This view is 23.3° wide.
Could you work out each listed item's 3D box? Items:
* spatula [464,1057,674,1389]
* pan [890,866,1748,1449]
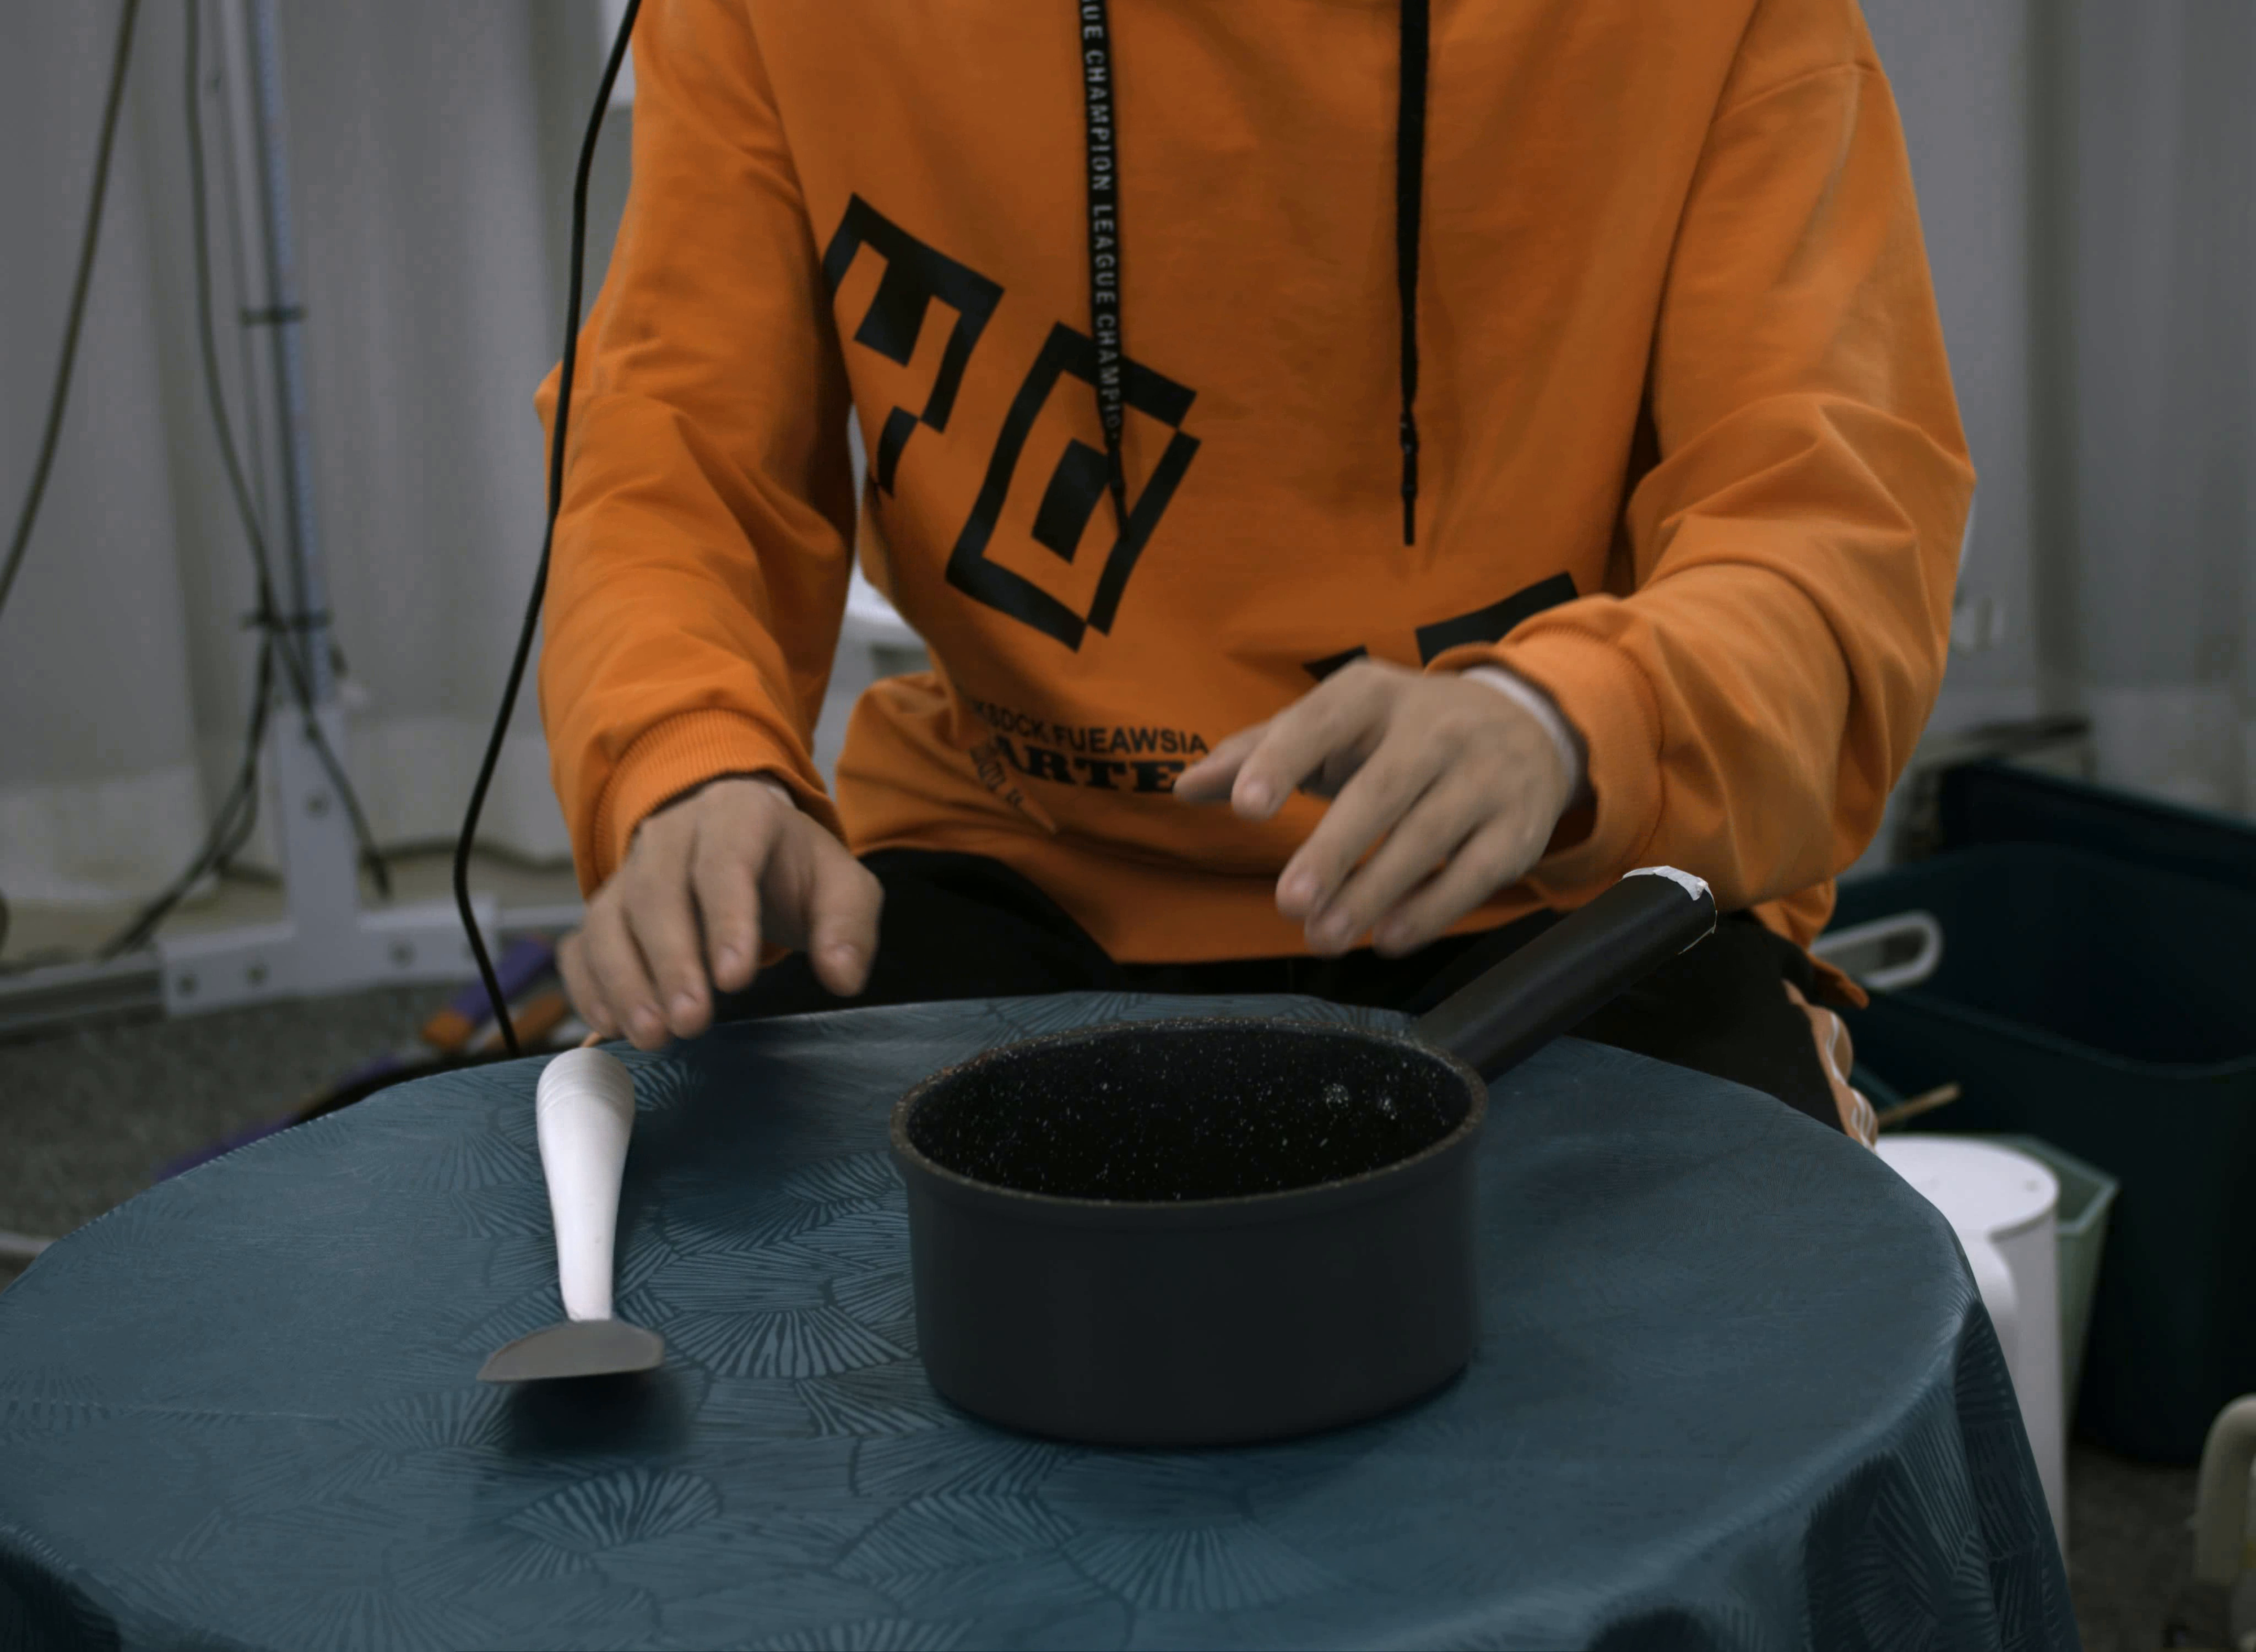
[{"bbox_3d":[-0.166,0.126,1.646,0.058,0.032,0.289,1,14,-5],"label":"spatula"},{"bbox_3d":[0.073,0.094,1.617,0.173,0.086,0.328,12,23,42],"label":"pan"}]
